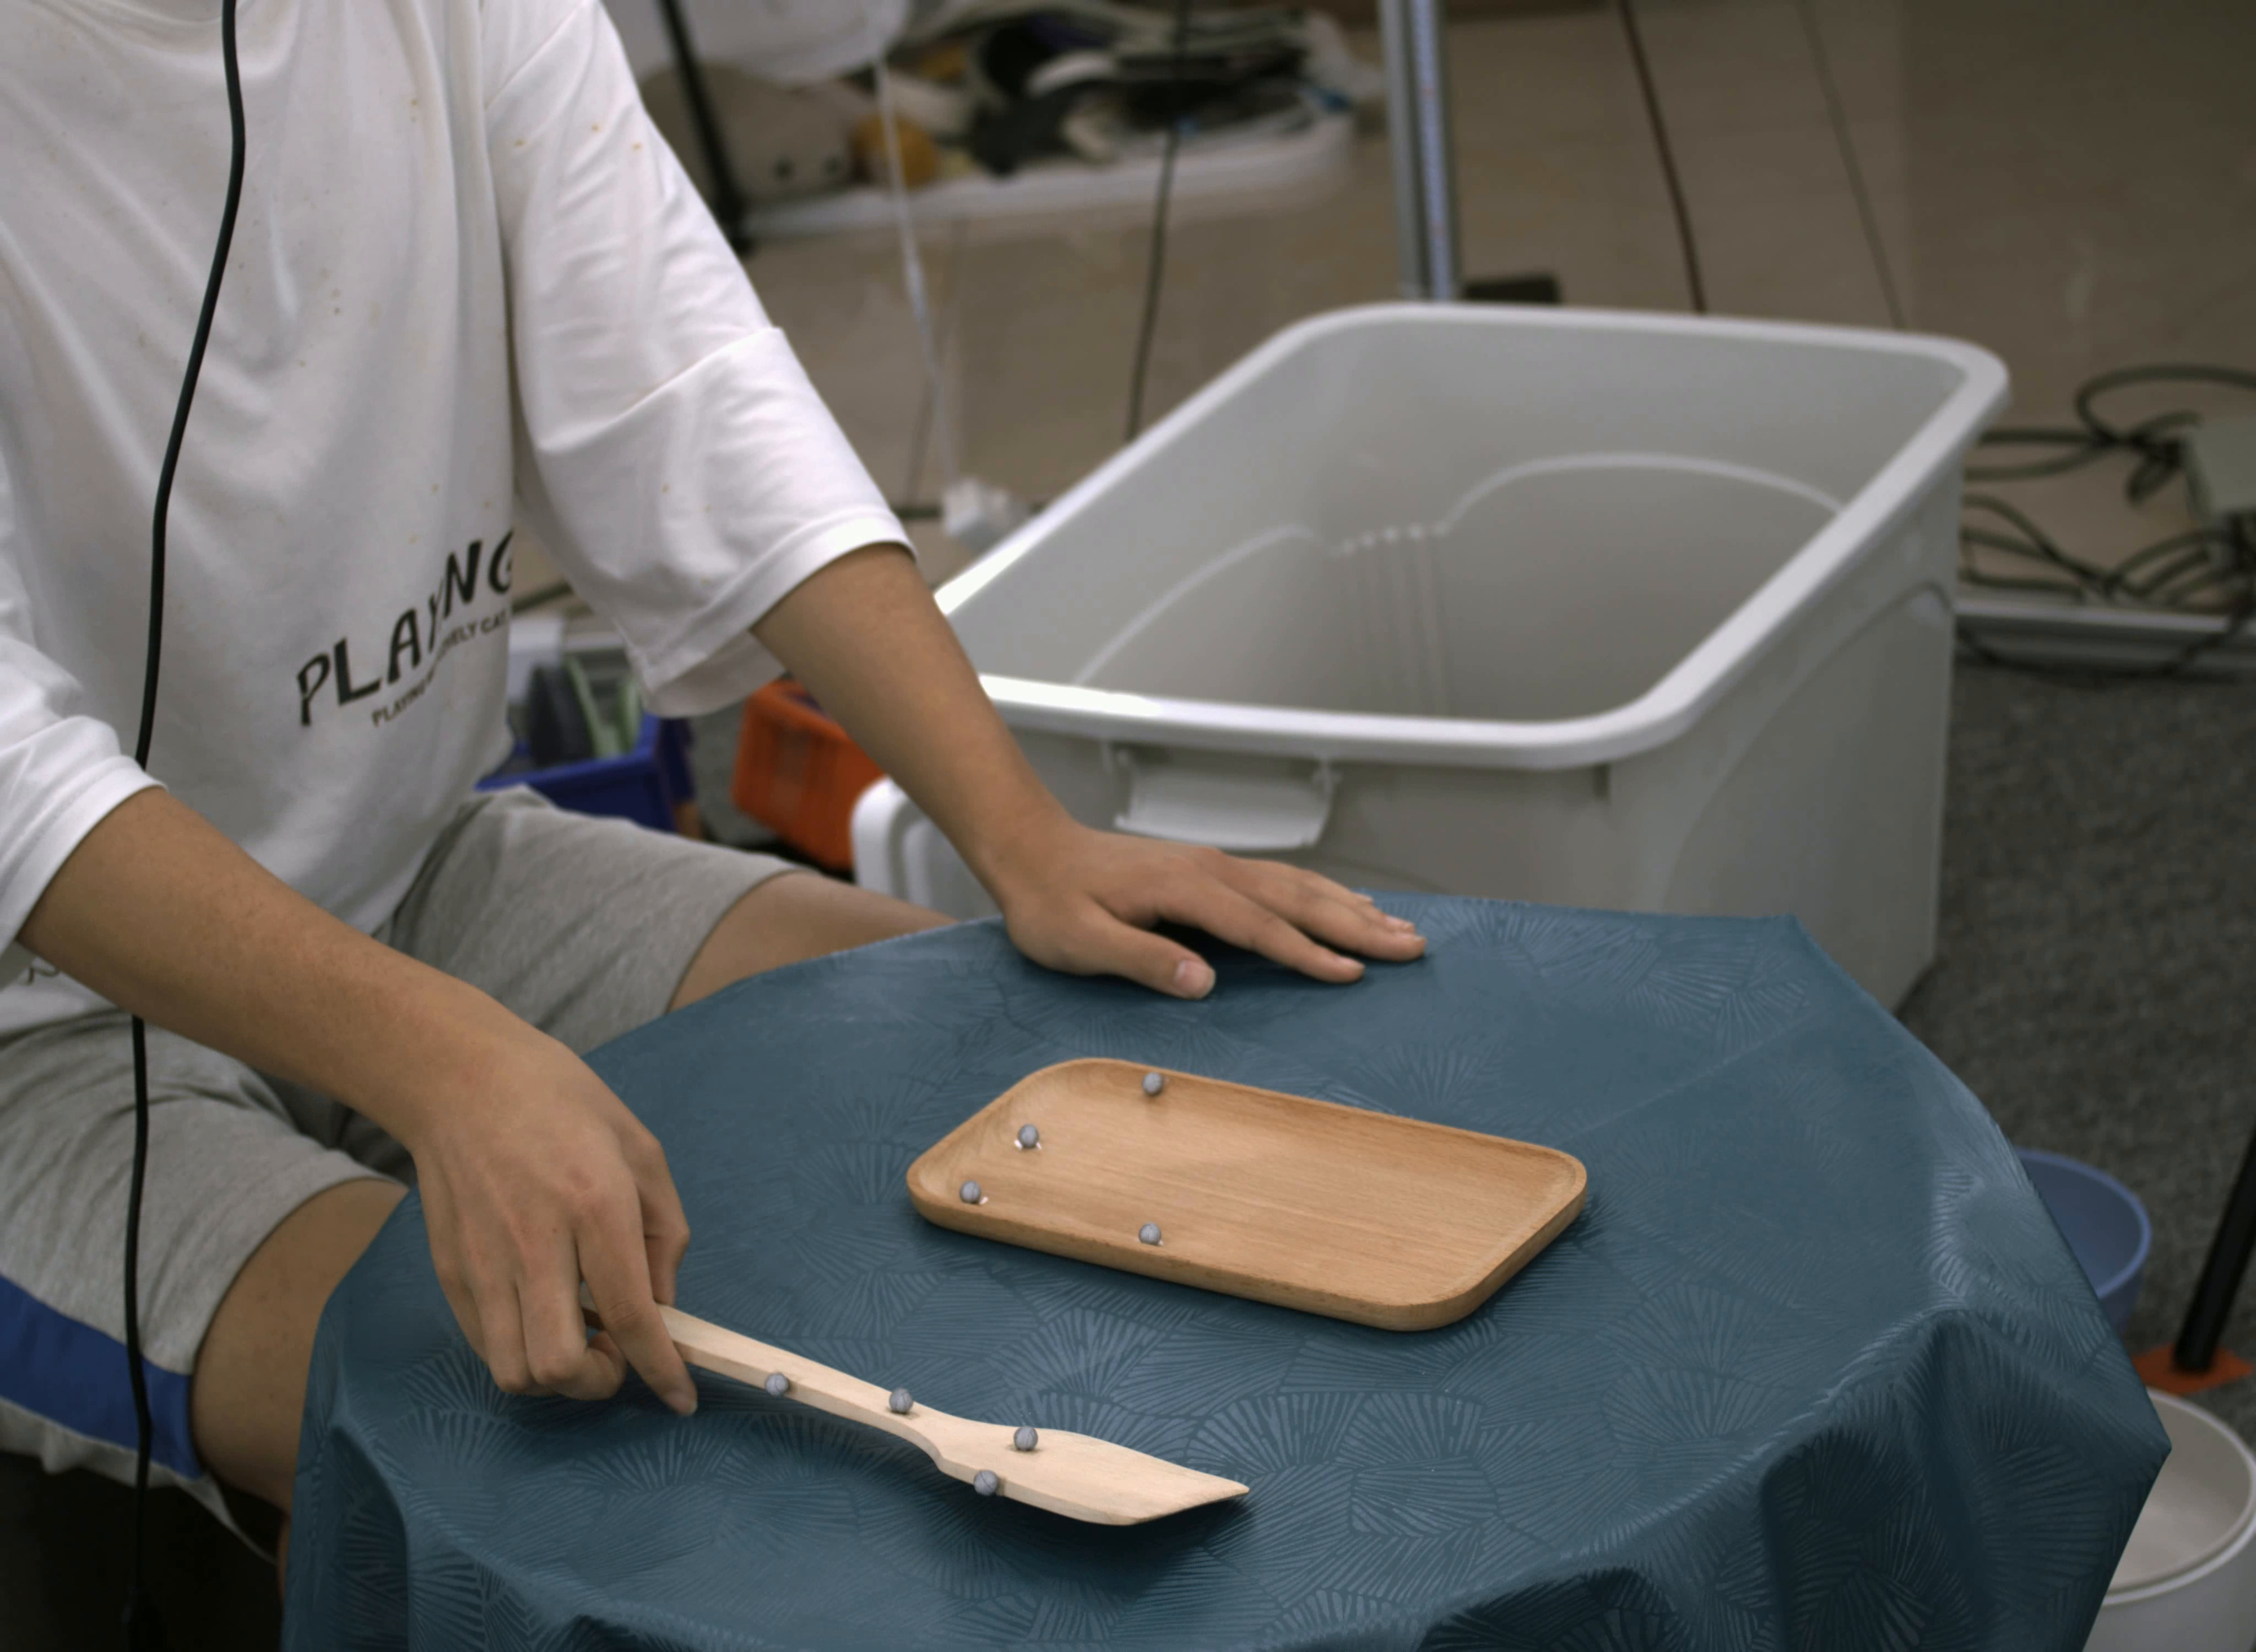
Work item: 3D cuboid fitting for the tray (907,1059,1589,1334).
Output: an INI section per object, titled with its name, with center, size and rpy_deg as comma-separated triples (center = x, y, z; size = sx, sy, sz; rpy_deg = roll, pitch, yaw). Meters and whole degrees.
[tray]
center = 0.043, 0.137, 2.121
size = 0.249, 0.023, 0.129
rpy_deg = 12, 33, 34

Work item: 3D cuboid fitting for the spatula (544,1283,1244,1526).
[spatula]
center = -0.094, 0.201, 1.994
size = 0.291, 0.011, 0.072
rpy_deg = 14, 14, 35
